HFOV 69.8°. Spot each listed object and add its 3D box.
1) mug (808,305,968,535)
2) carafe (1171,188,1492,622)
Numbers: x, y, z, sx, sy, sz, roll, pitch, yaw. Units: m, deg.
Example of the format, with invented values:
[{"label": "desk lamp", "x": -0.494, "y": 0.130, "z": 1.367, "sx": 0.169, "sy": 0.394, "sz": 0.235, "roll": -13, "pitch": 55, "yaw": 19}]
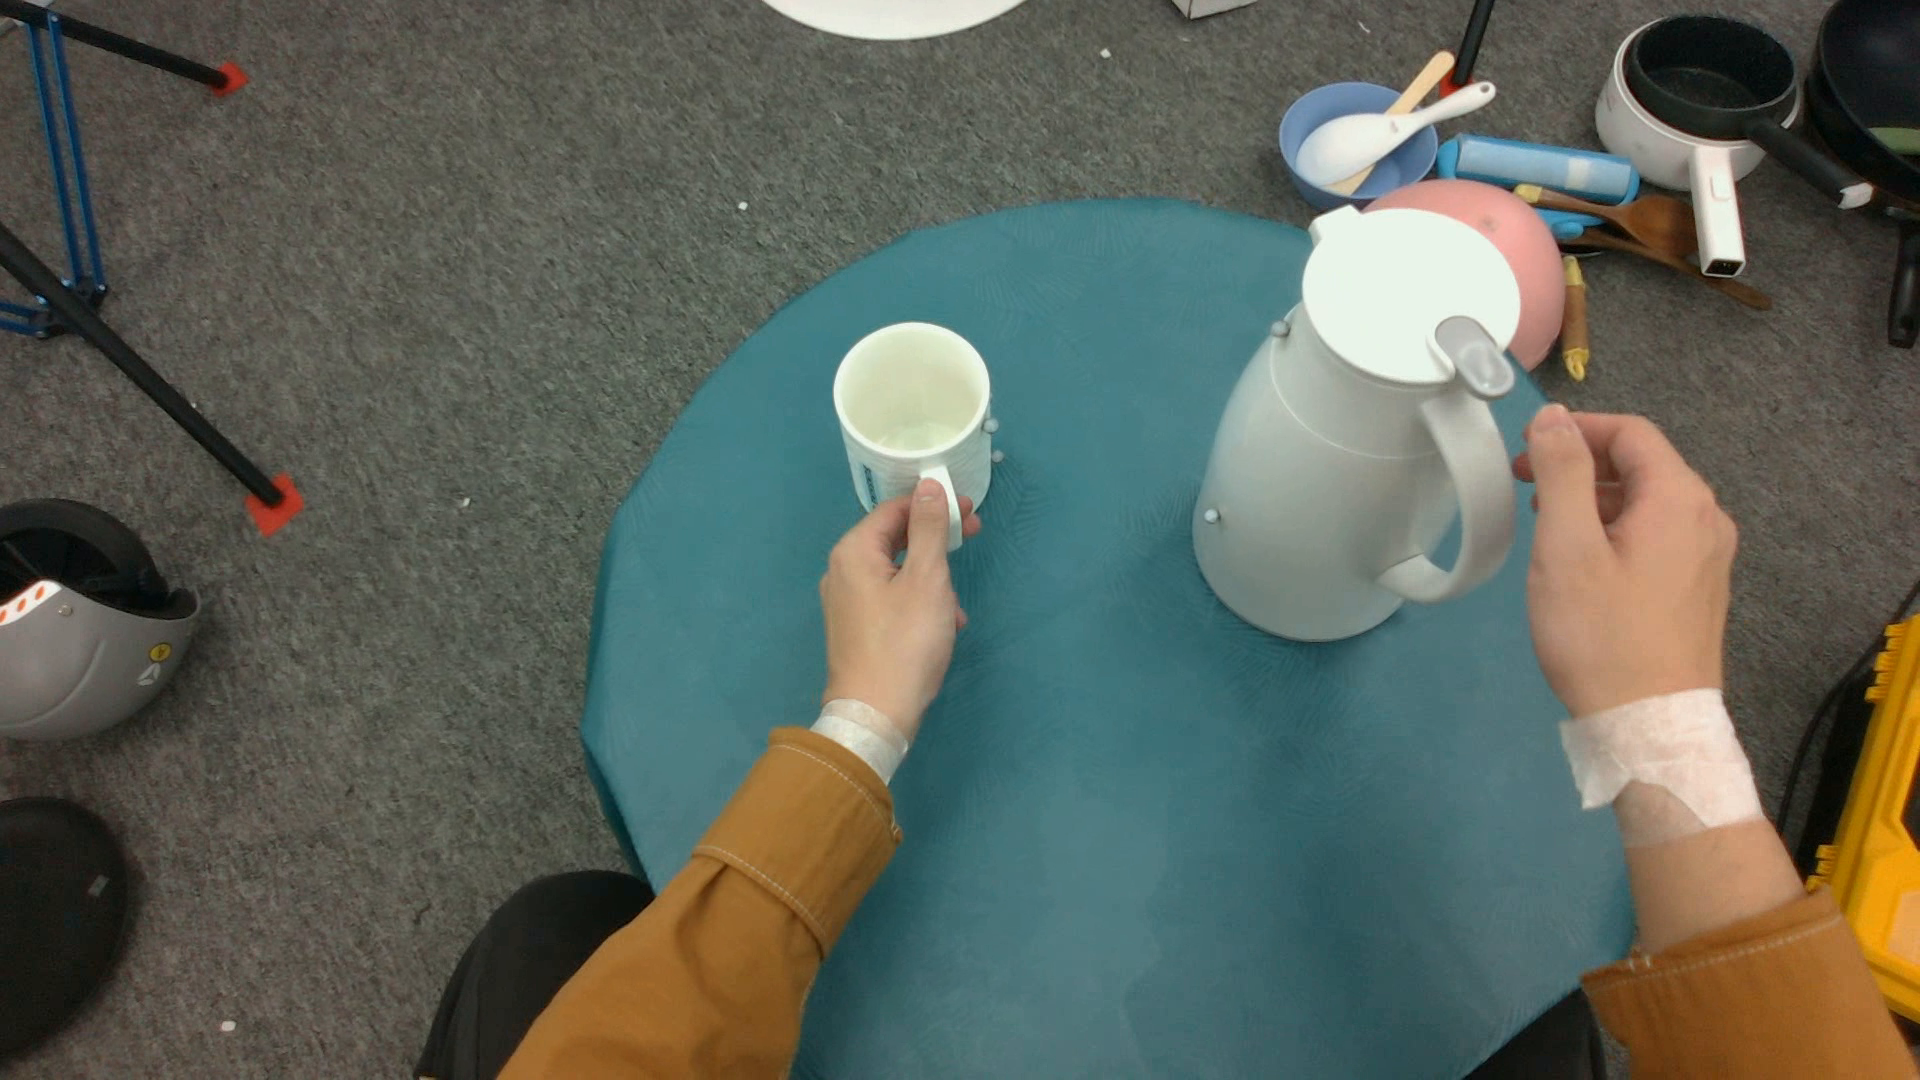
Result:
[{"label": "mug", "x": -0.033, "y": -0.057, "z": 0.782, "sx": 0.085, "sy": 0.101, "sz": 0.118, "roll": -17, "pitch": 65, "yaw": -6}, {"label": "carafe", "x": 0.197, "y": -0.051, "z": 0.694, "sx": 0.133, "sy": 0.247, "sz": 0.168, "roll": -24, "pitch": 66, "yaw": -11}]
